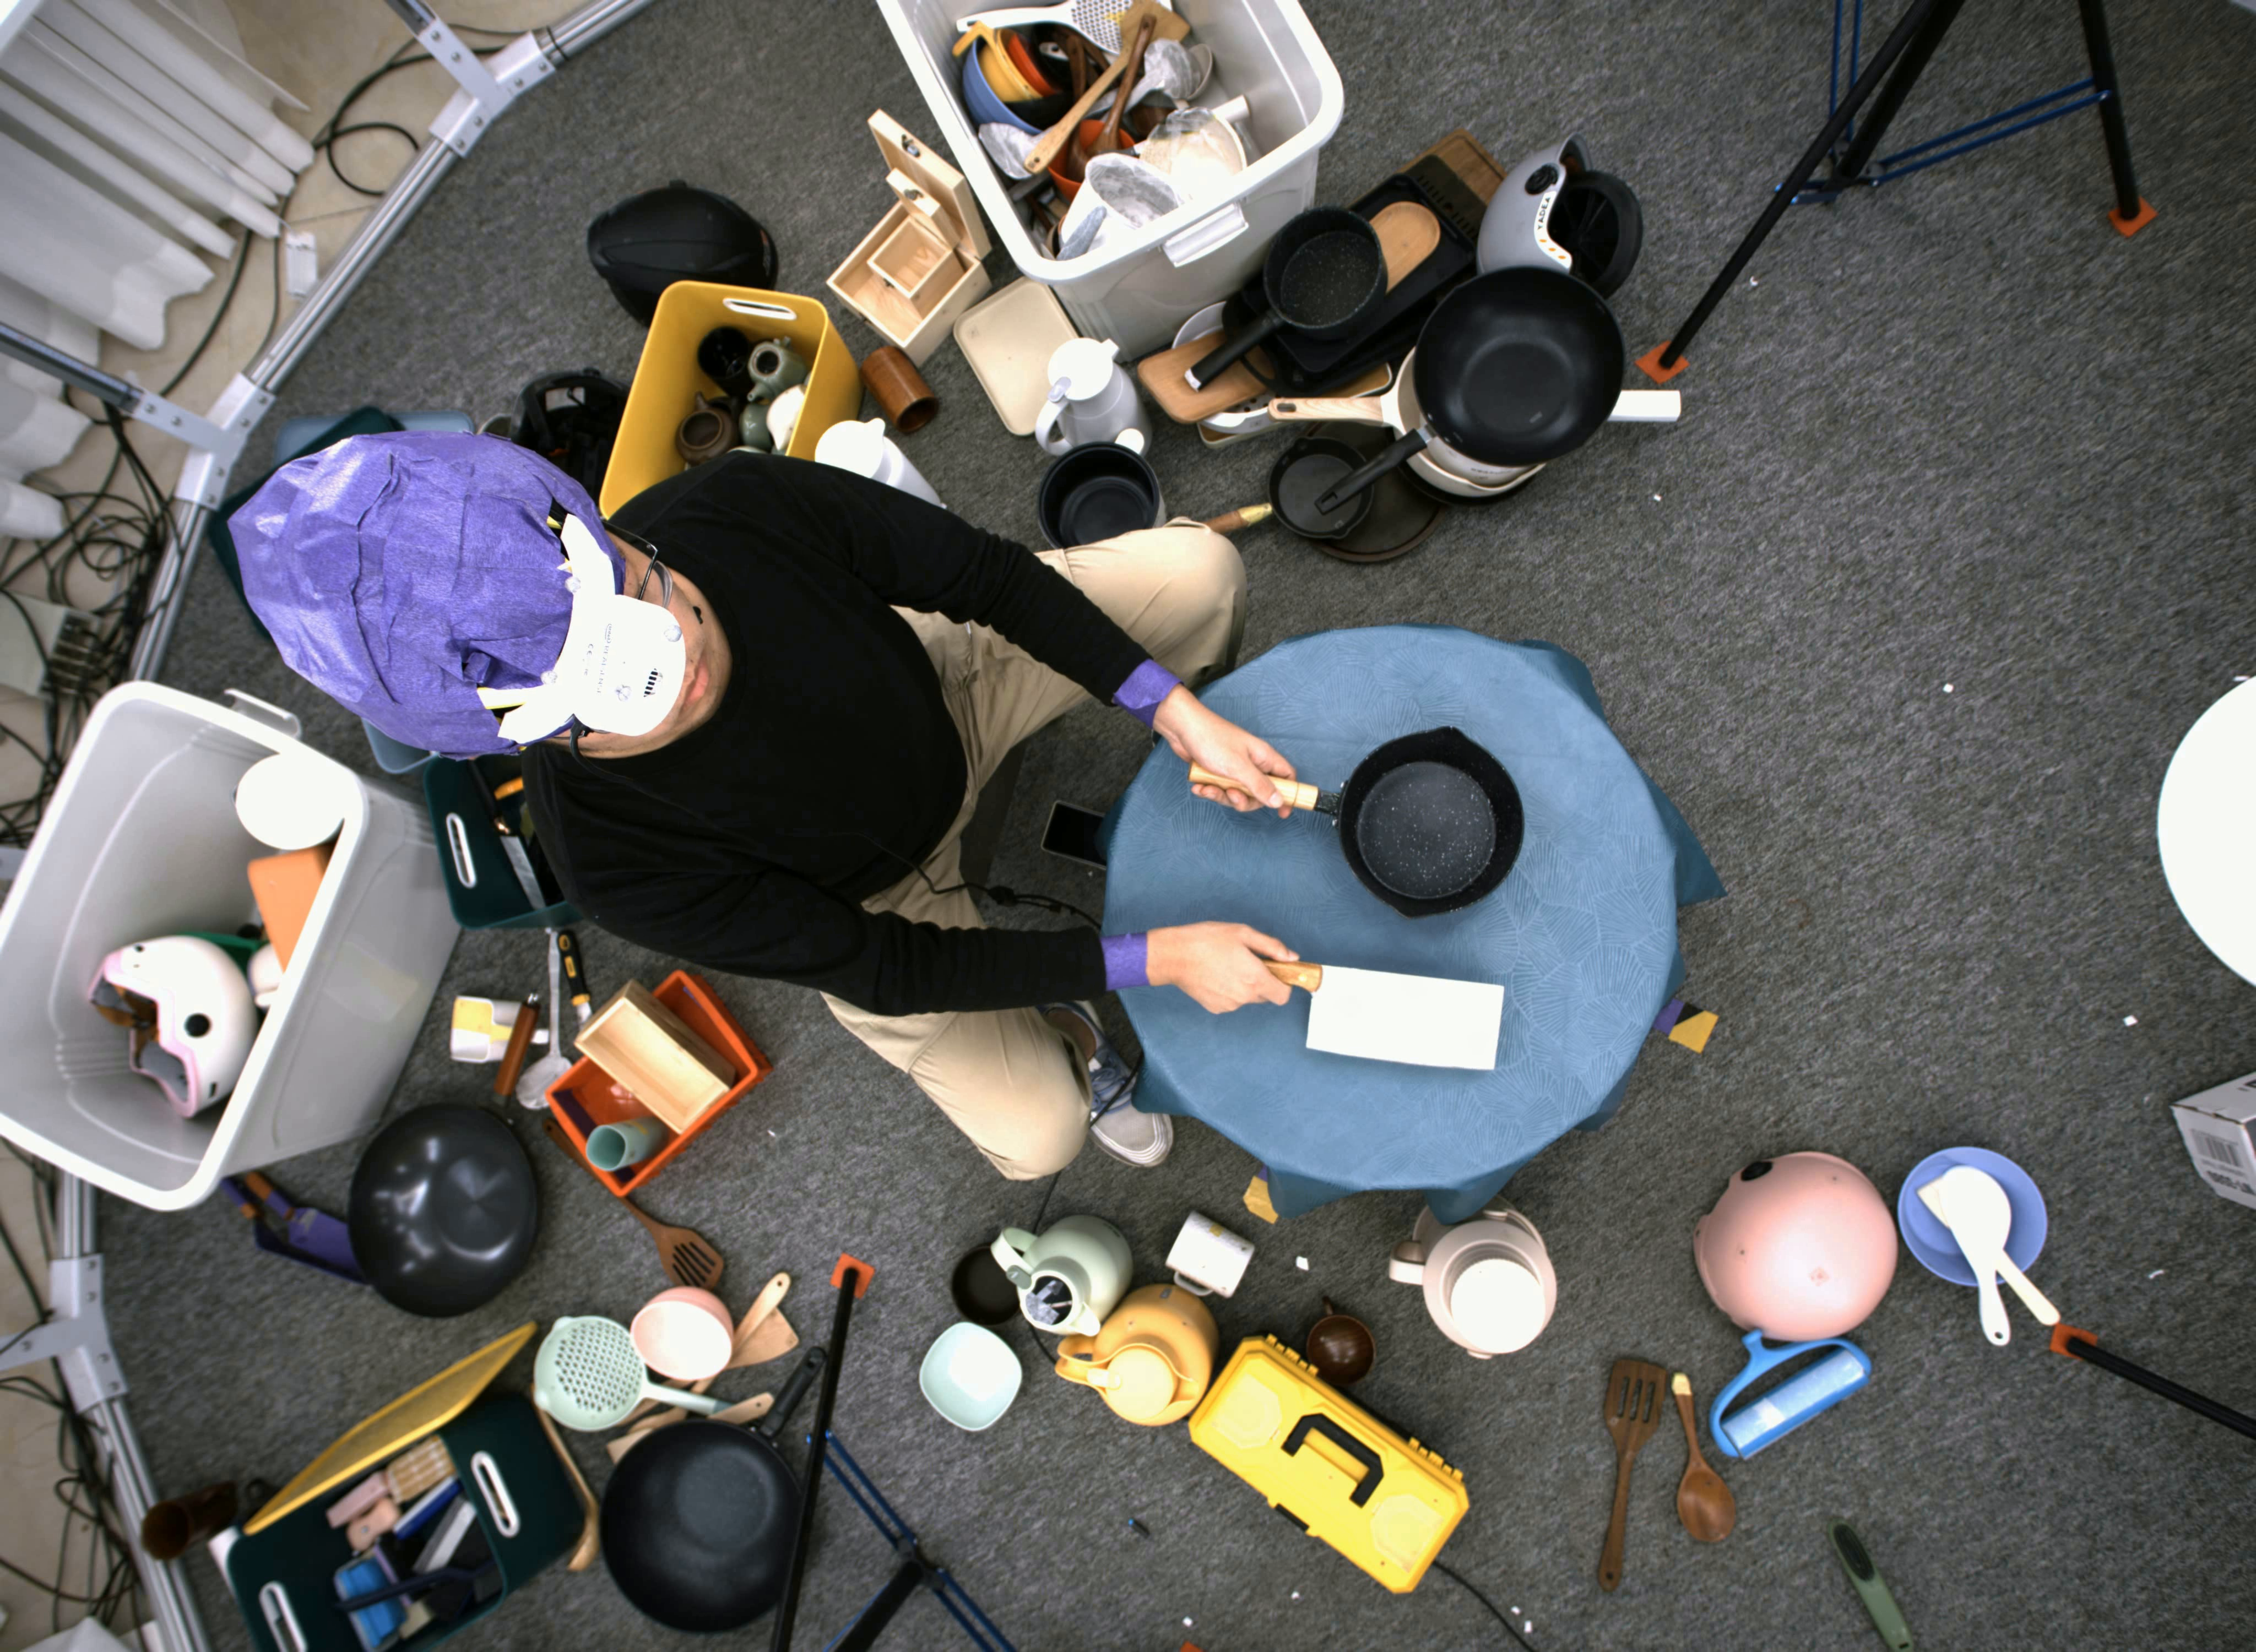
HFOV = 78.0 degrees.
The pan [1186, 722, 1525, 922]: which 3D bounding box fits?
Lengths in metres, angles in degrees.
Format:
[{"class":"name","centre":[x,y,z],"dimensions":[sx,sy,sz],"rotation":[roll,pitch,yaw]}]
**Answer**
[{"class":"pan","centre":[0.229,-0.017,1.416],"dimensions":[0.343,0.108,0.207],"rotation":[11,89,9]}]

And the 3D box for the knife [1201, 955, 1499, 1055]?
[{"class":"knife","centre":[0.223,0.184,1.412],"dimensions":[0.306,0.020,0.094],"rotation":[6,106,11]}]
